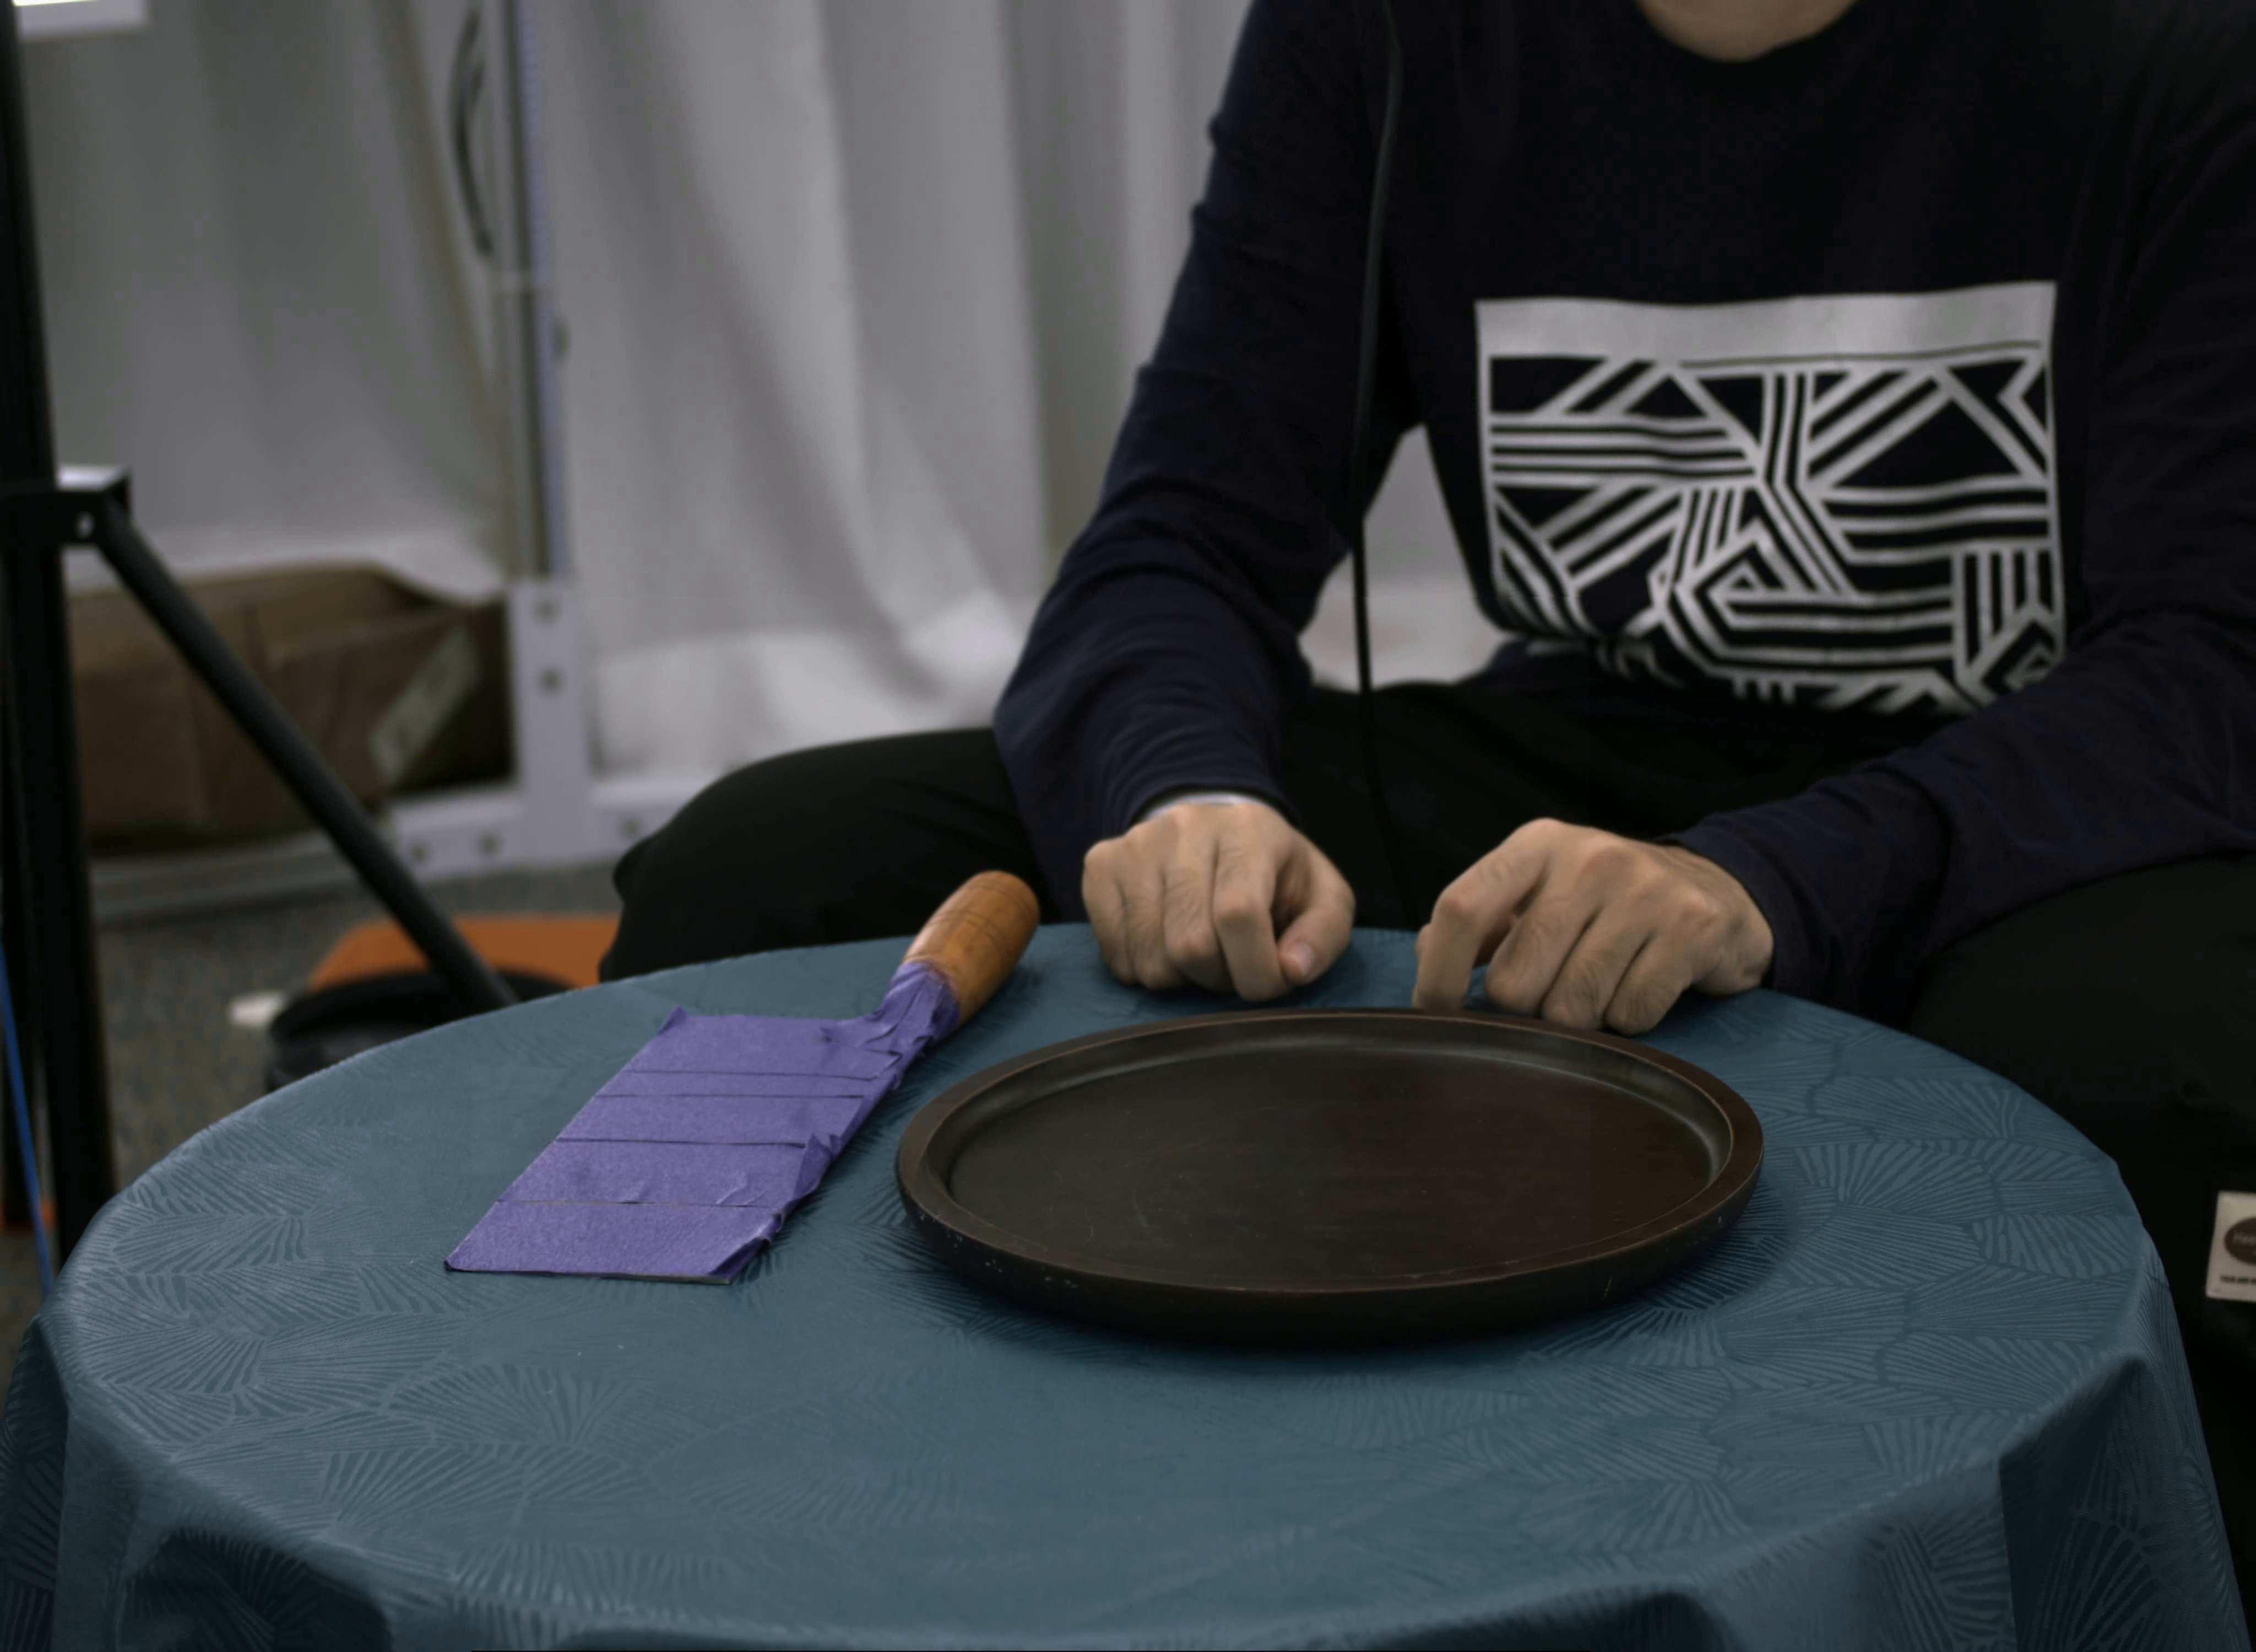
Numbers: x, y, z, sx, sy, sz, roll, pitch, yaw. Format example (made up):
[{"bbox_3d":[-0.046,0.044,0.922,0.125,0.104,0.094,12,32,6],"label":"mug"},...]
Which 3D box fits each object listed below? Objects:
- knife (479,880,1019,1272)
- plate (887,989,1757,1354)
[{"bbox_3d":[-0.114,0.074,1.650,0.104,0.032,0.313,2,17,14],"label":"knife"},{"bbox_3d":[0.056,0.100,1.539,0.253,0.029,0.256,-3,16,0],"label":"plate"}]
